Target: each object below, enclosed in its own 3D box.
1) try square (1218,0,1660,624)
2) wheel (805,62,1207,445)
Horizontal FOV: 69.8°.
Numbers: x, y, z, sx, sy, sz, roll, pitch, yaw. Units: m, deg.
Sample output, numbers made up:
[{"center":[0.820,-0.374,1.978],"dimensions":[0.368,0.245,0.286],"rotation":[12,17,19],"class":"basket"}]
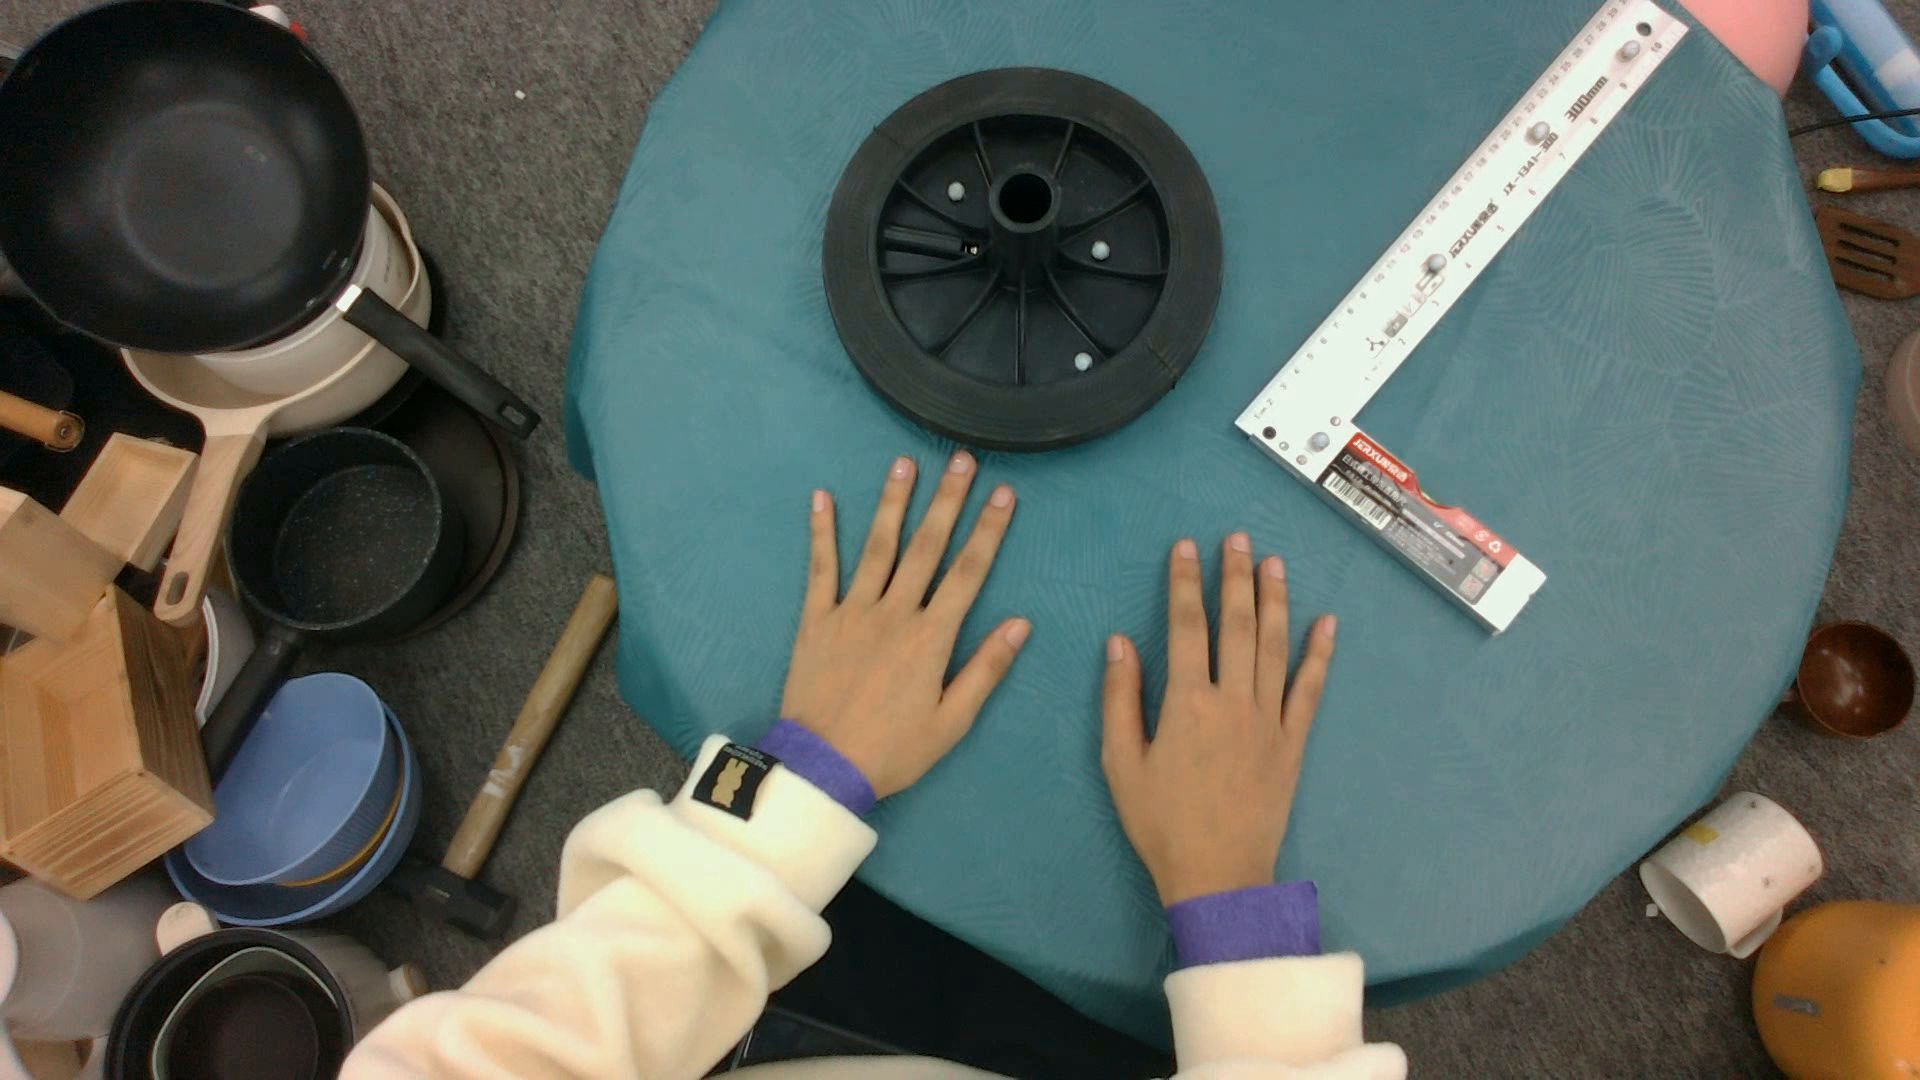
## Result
[{"center":[0.276,-0.123,0.662],"dimensions":[0.152,0.016,0.313],"rotation":[41,80,6],"class":"try square"},{"center":[0.022,-0.142,0.630],"dimensions":[0.190,0.079,0.187],"rotation":[-13,78,-2],"class":"wheel"}]
